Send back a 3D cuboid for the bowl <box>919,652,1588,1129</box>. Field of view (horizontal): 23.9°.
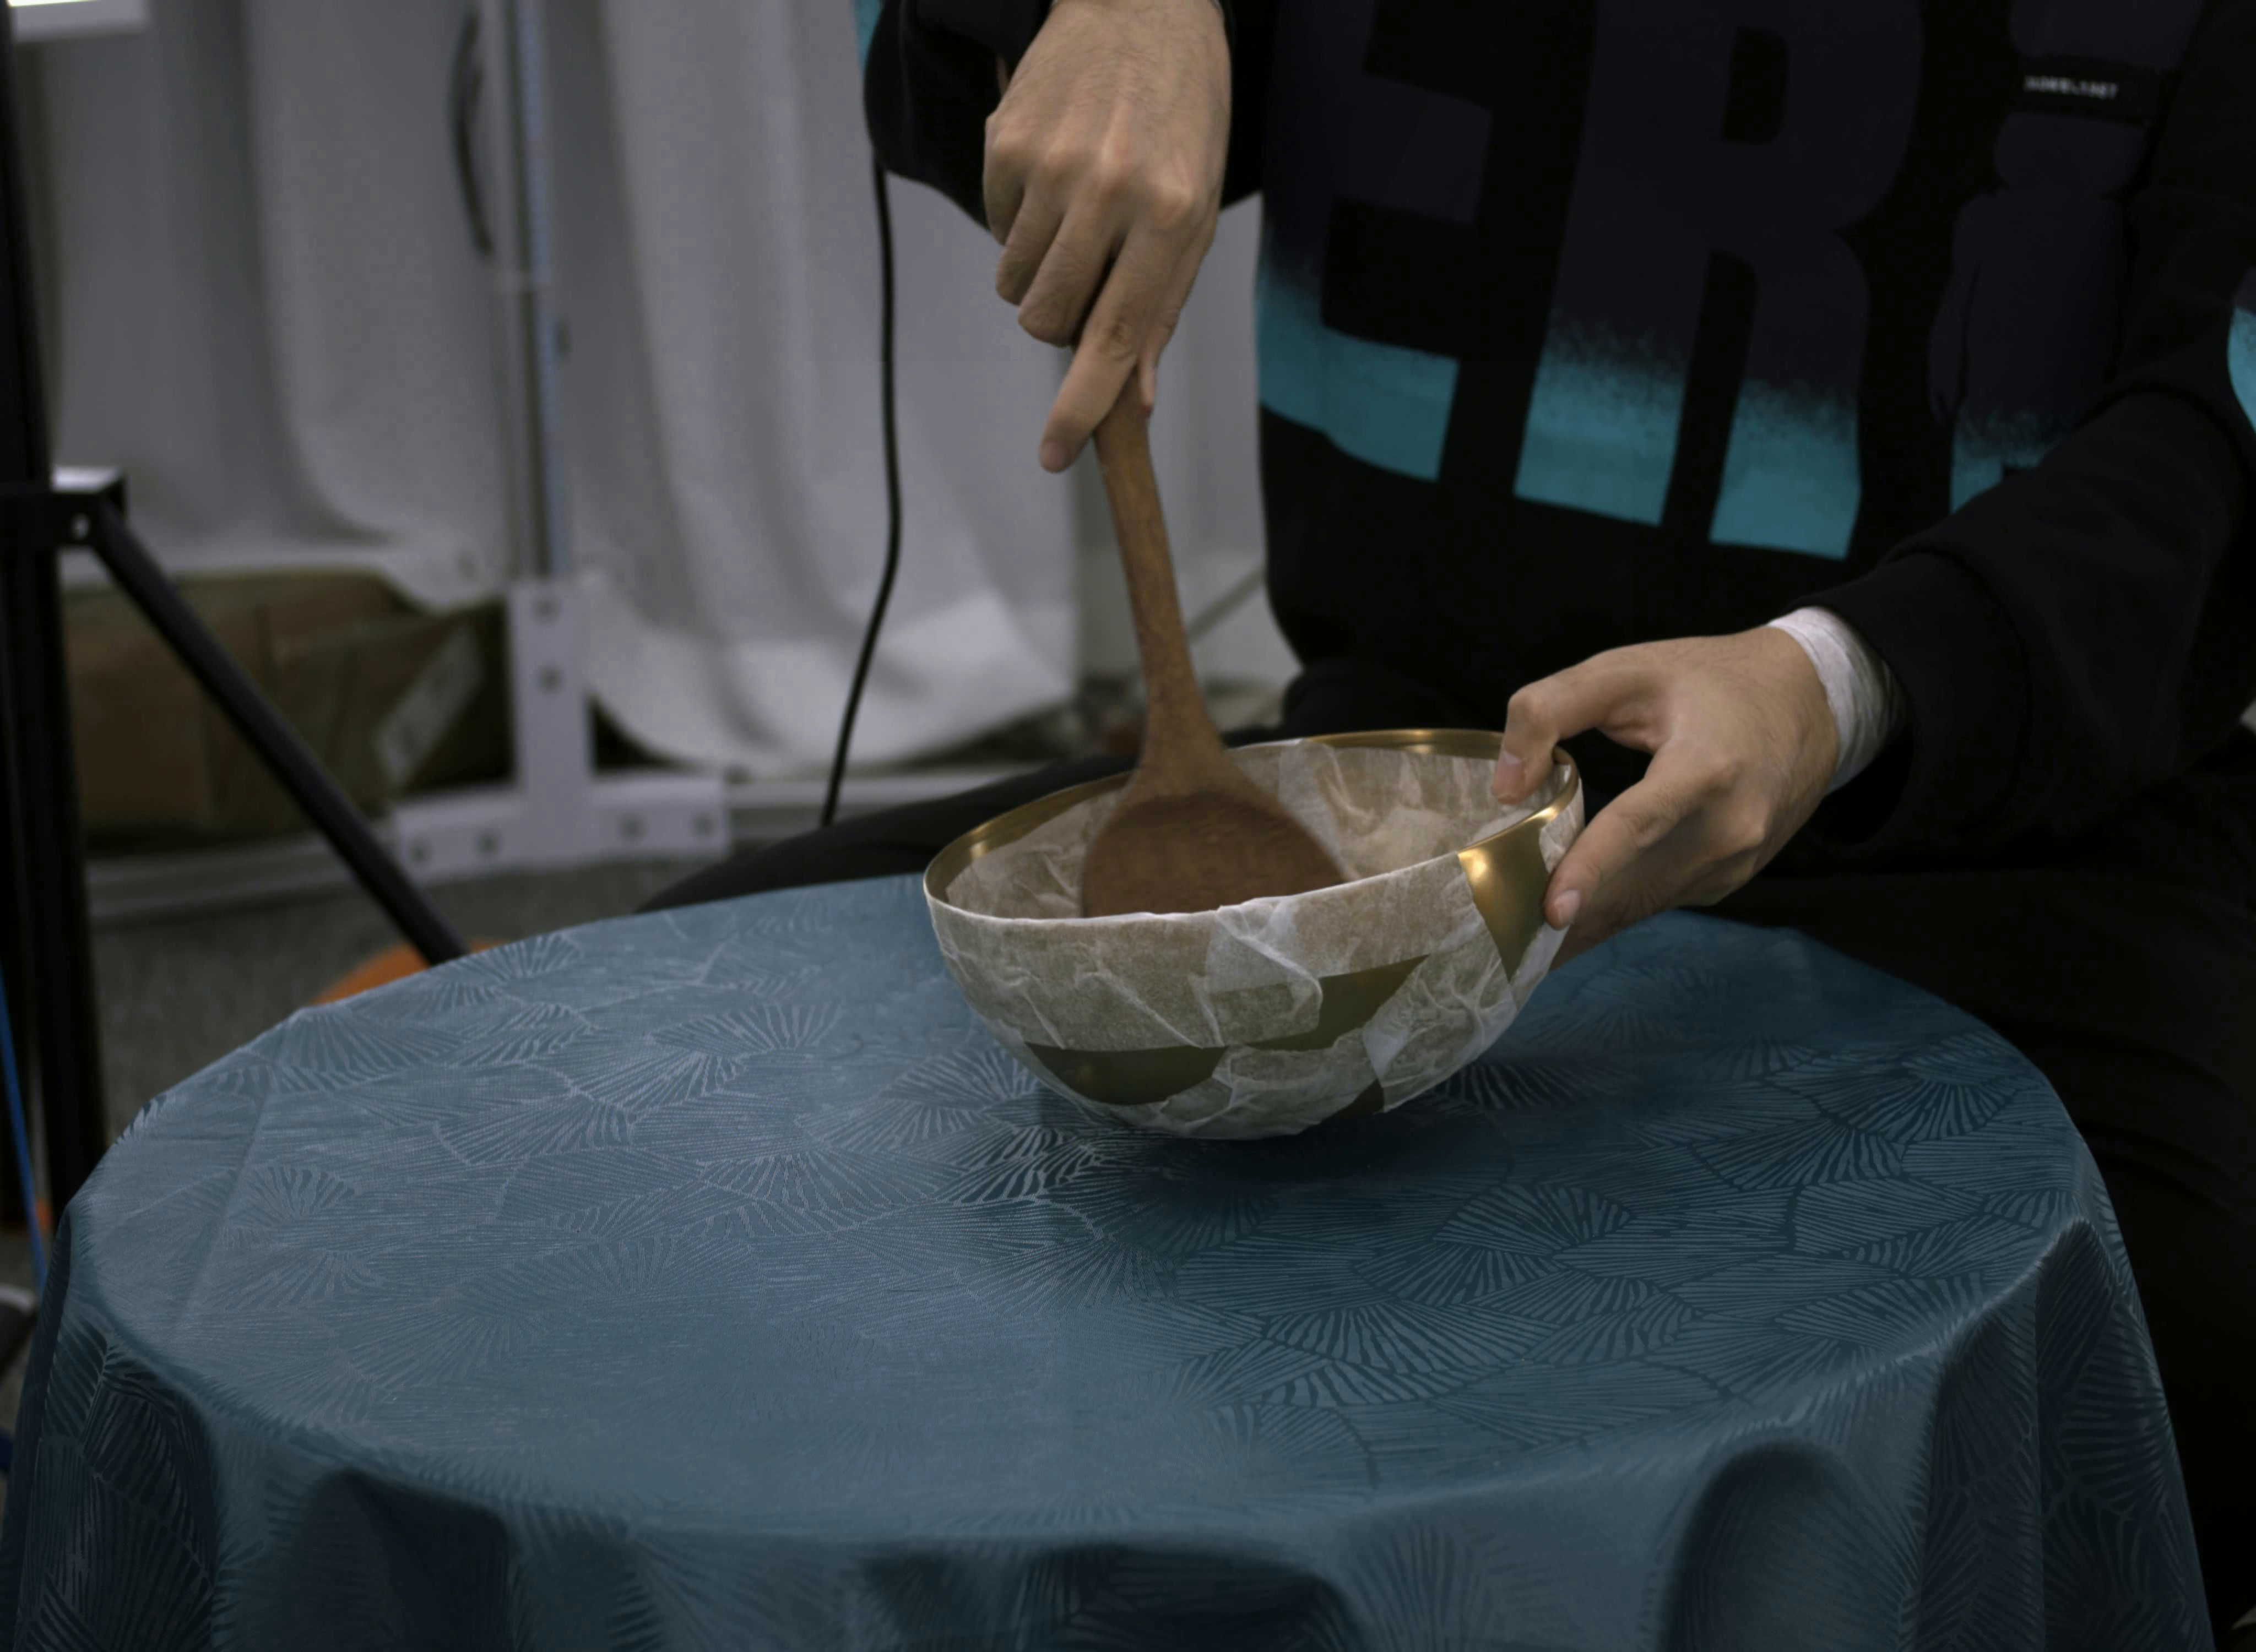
[{"bbox_3d":[0.048,0.031,1.598,0.214,0.094,0.216,-15,20,4],"label":"bowl"}]

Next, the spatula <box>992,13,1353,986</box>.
[{"bbox_3d":[0.001,-0.100,1.681,0.094,0.391,0.016,0,-29,-21],"label":"spatula"}]
